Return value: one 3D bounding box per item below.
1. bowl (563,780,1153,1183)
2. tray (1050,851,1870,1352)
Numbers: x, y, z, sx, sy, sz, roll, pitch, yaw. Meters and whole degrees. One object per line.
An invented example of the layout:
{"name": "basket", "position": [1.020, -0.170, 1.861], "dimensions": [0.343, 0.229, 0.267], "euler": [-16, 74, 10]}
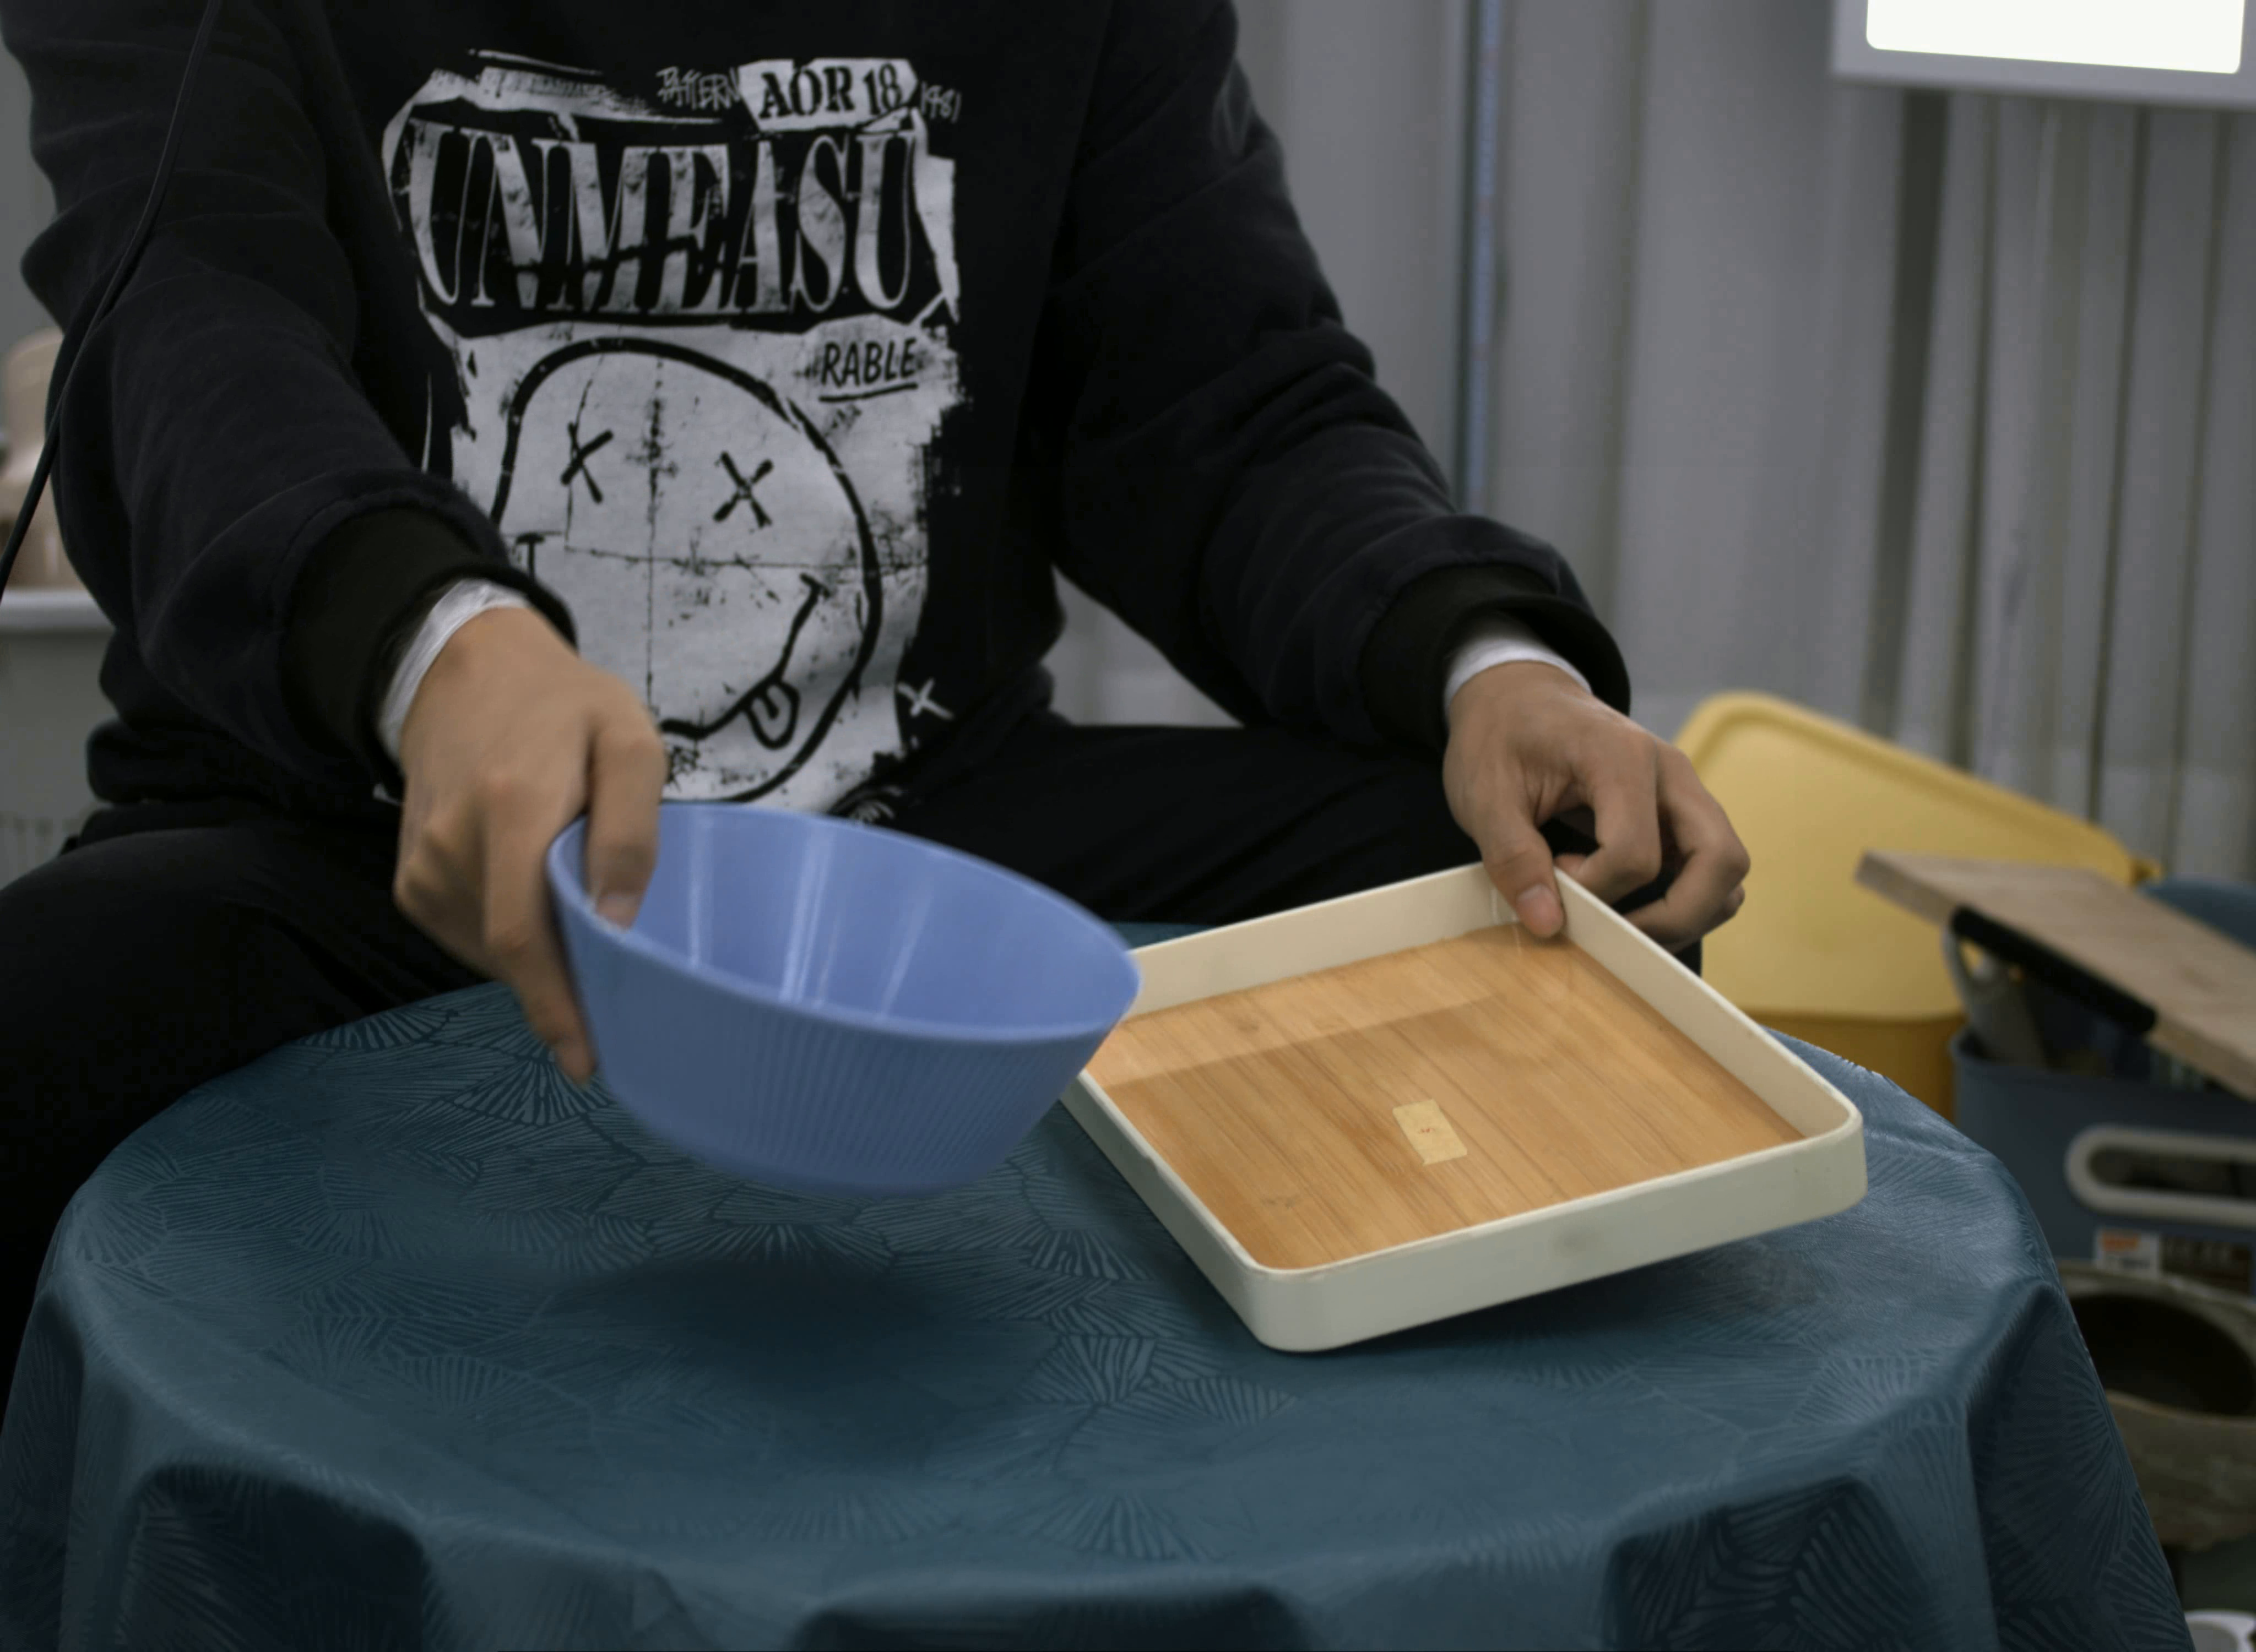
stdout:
{"name": "bowl", "position": [-0.085, 0.049, 1.522], "dimensions": [0.176, 0.071, 0.175], "euler": [15, 17, -4]}
{"name": "tray", "position": [0.090, 0.080, 1.638], "dimensions": [0.191, 0.027, 0.297], "euler": [-14, 19, -12]}
